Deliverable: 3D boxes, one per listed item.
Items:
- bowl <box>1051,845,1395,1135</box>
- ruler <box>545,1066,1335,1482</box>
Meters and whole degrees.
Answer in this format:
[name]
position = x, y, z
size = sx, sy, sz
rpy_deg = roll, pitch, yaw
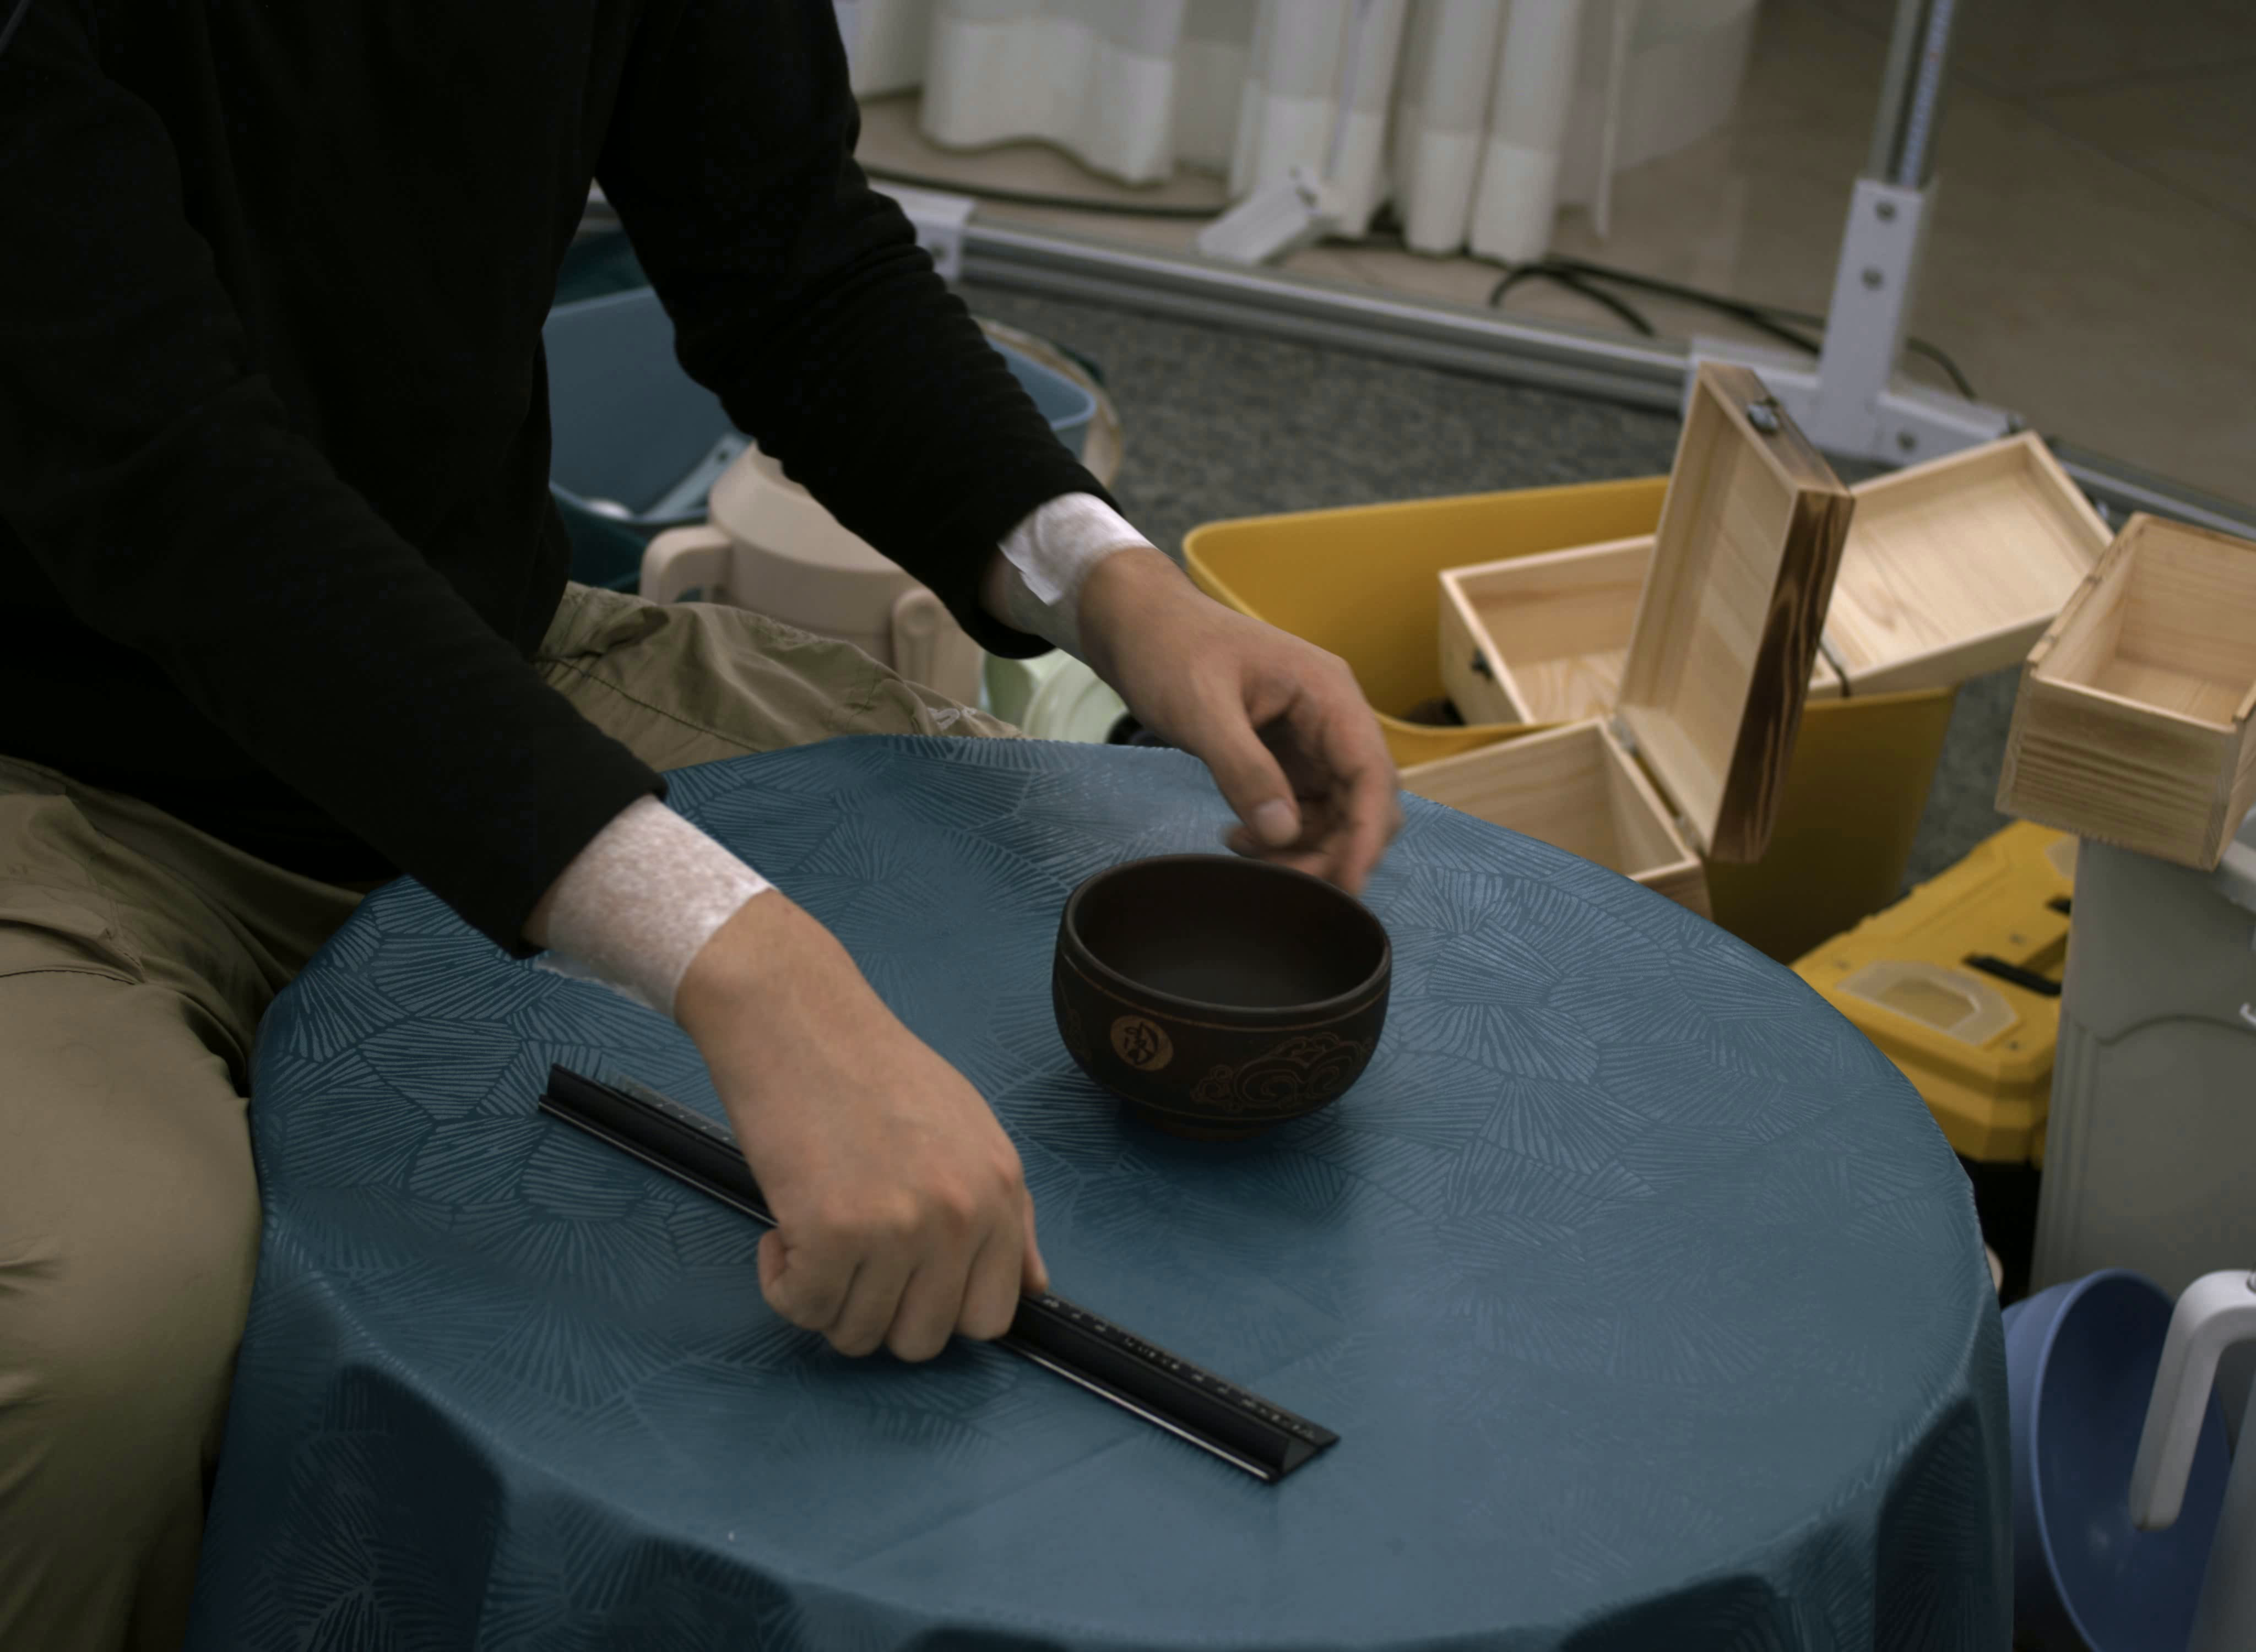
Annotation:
[bowl]
position = 0.030, 0.063, 1.846
size = 0.117, 0.069, 0.119
rpy_deg = 6, 27, -3
[ruler]
position = -0.065, 0.139, 1.741
size = 0.314, 0.017, 0.039
rpy_deg = 24, 28, 31
